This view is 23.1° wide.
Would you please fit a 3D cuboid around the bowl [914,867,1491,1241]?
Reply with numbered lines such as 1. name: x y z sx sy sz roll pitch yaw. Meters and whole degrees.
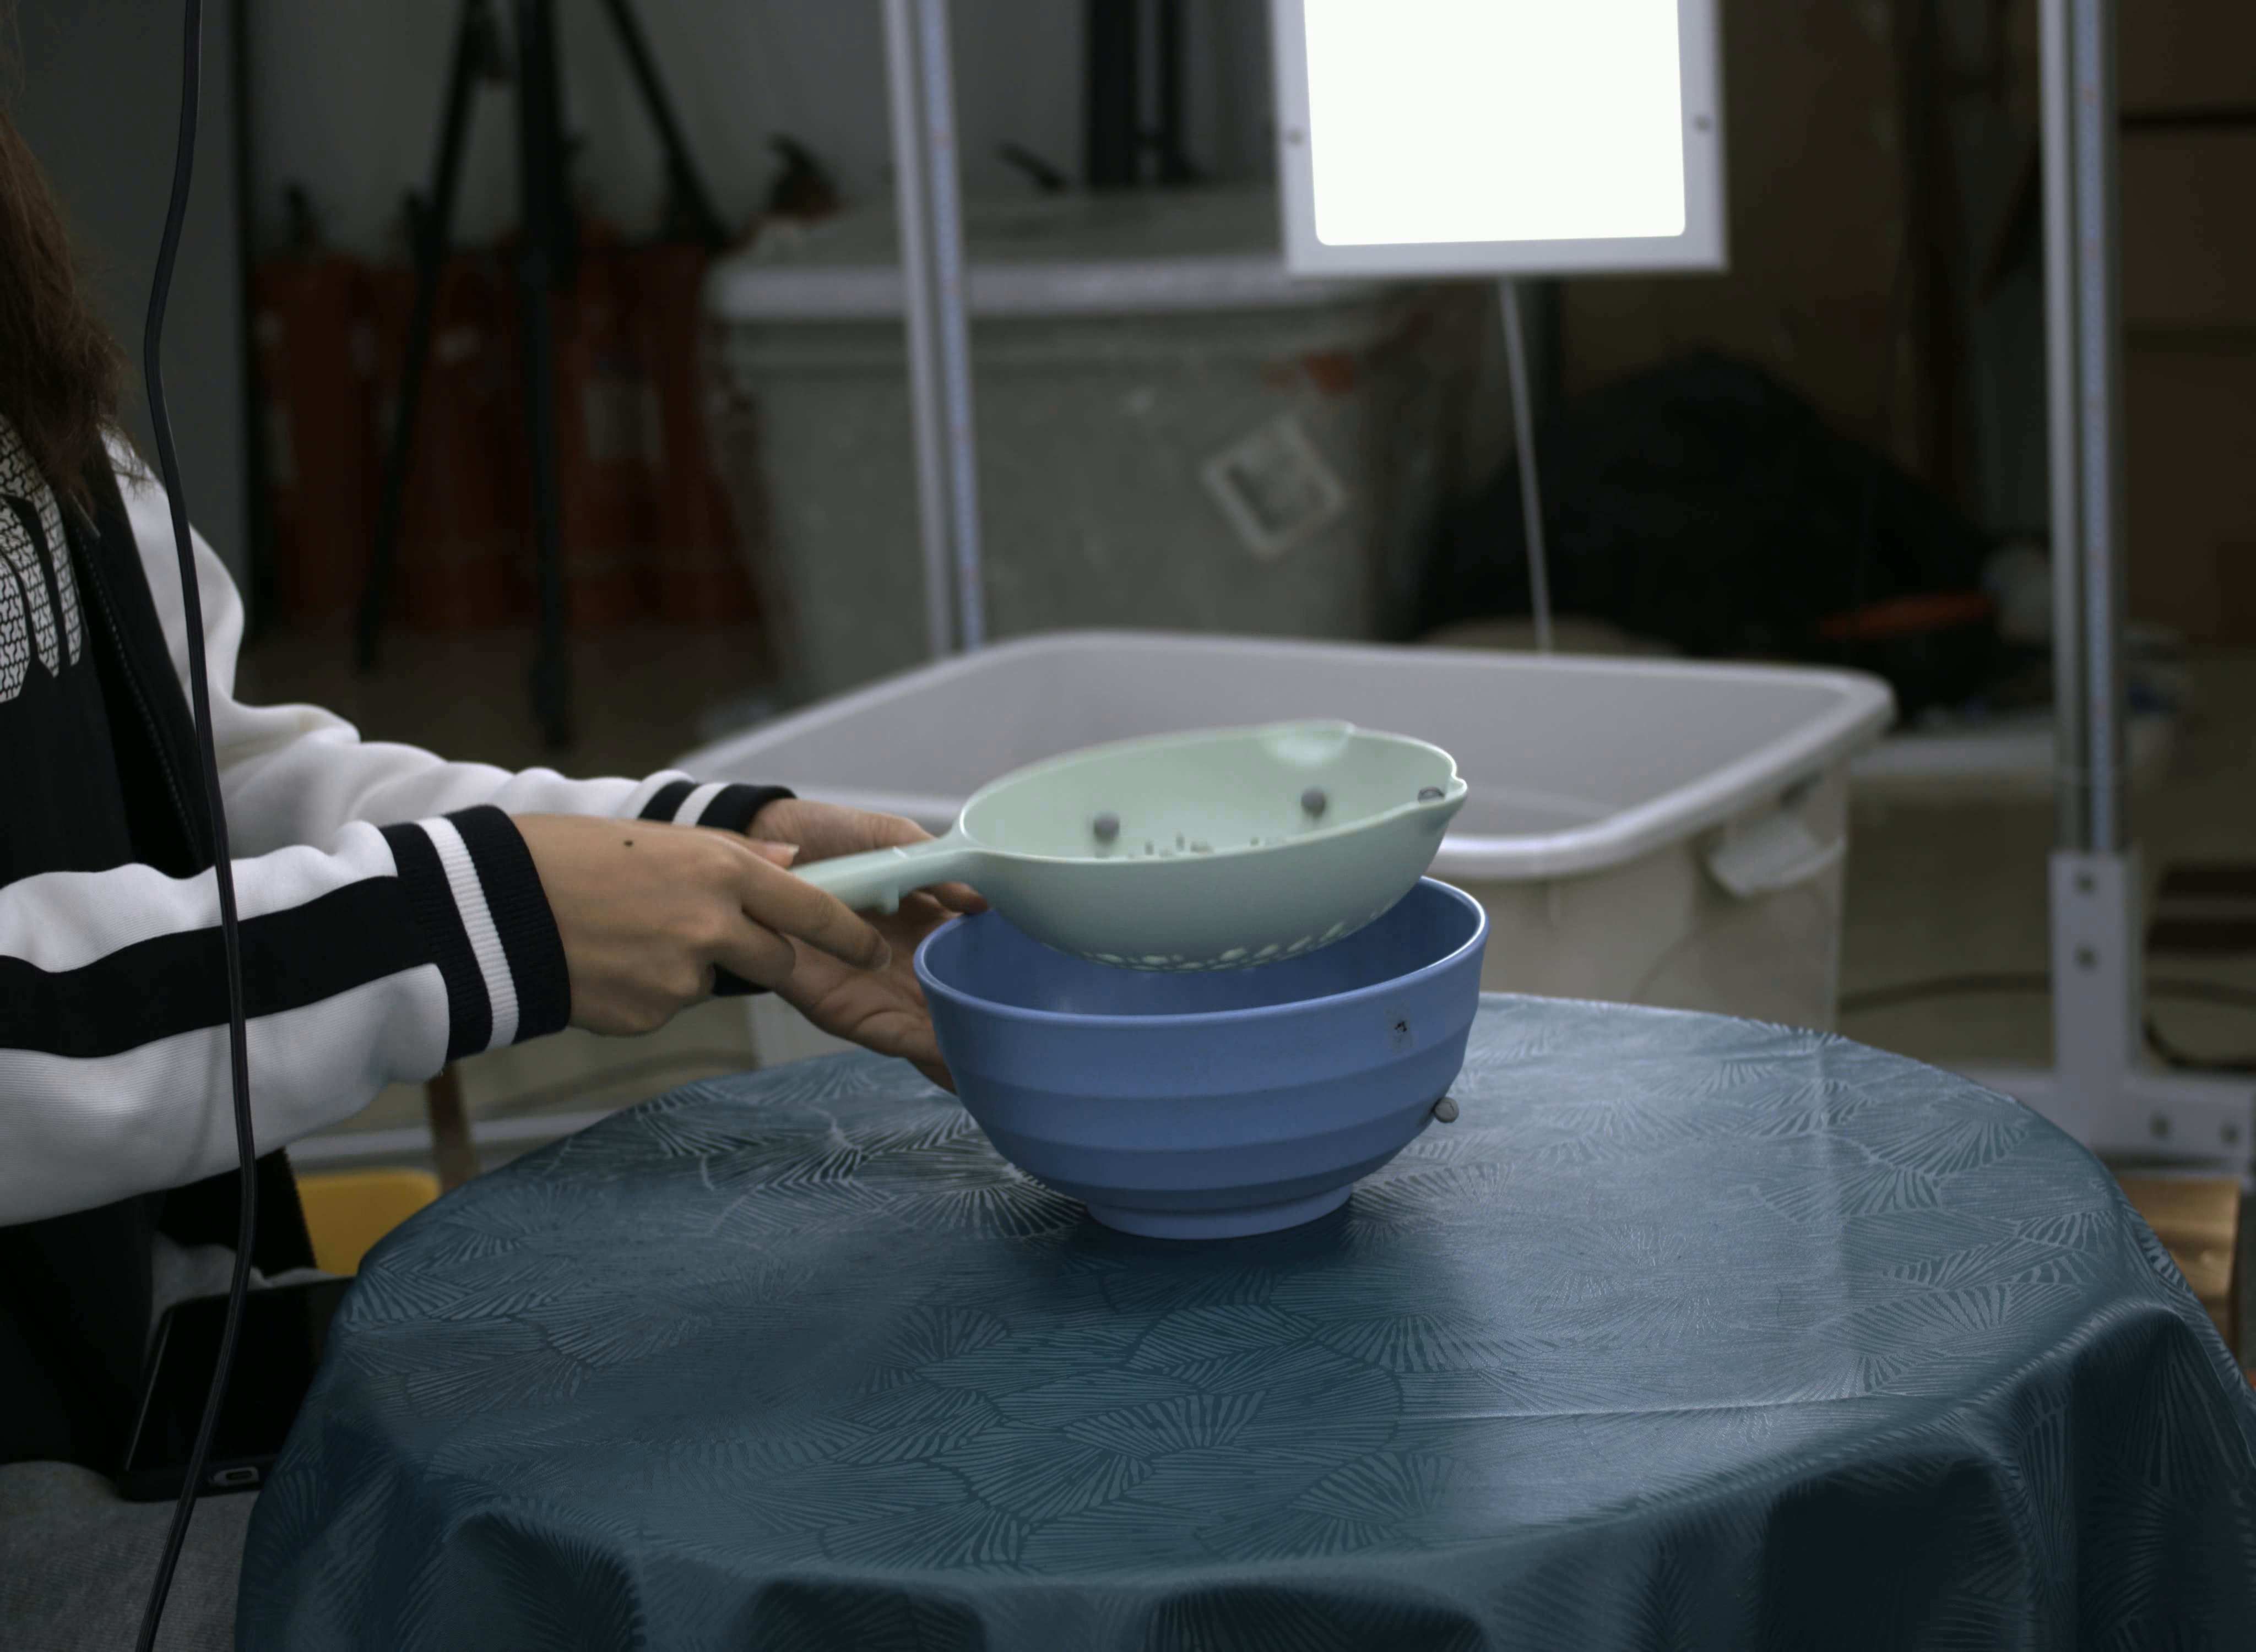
1. bowl: 0.029 0.082 1.871 0.196 0.096 0.196 -5 14 0

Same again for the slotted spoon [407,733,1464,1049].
1. slotted spoon: -0.063 0.022 1.822 0.353 0.075 0.171 -4 8 -17
